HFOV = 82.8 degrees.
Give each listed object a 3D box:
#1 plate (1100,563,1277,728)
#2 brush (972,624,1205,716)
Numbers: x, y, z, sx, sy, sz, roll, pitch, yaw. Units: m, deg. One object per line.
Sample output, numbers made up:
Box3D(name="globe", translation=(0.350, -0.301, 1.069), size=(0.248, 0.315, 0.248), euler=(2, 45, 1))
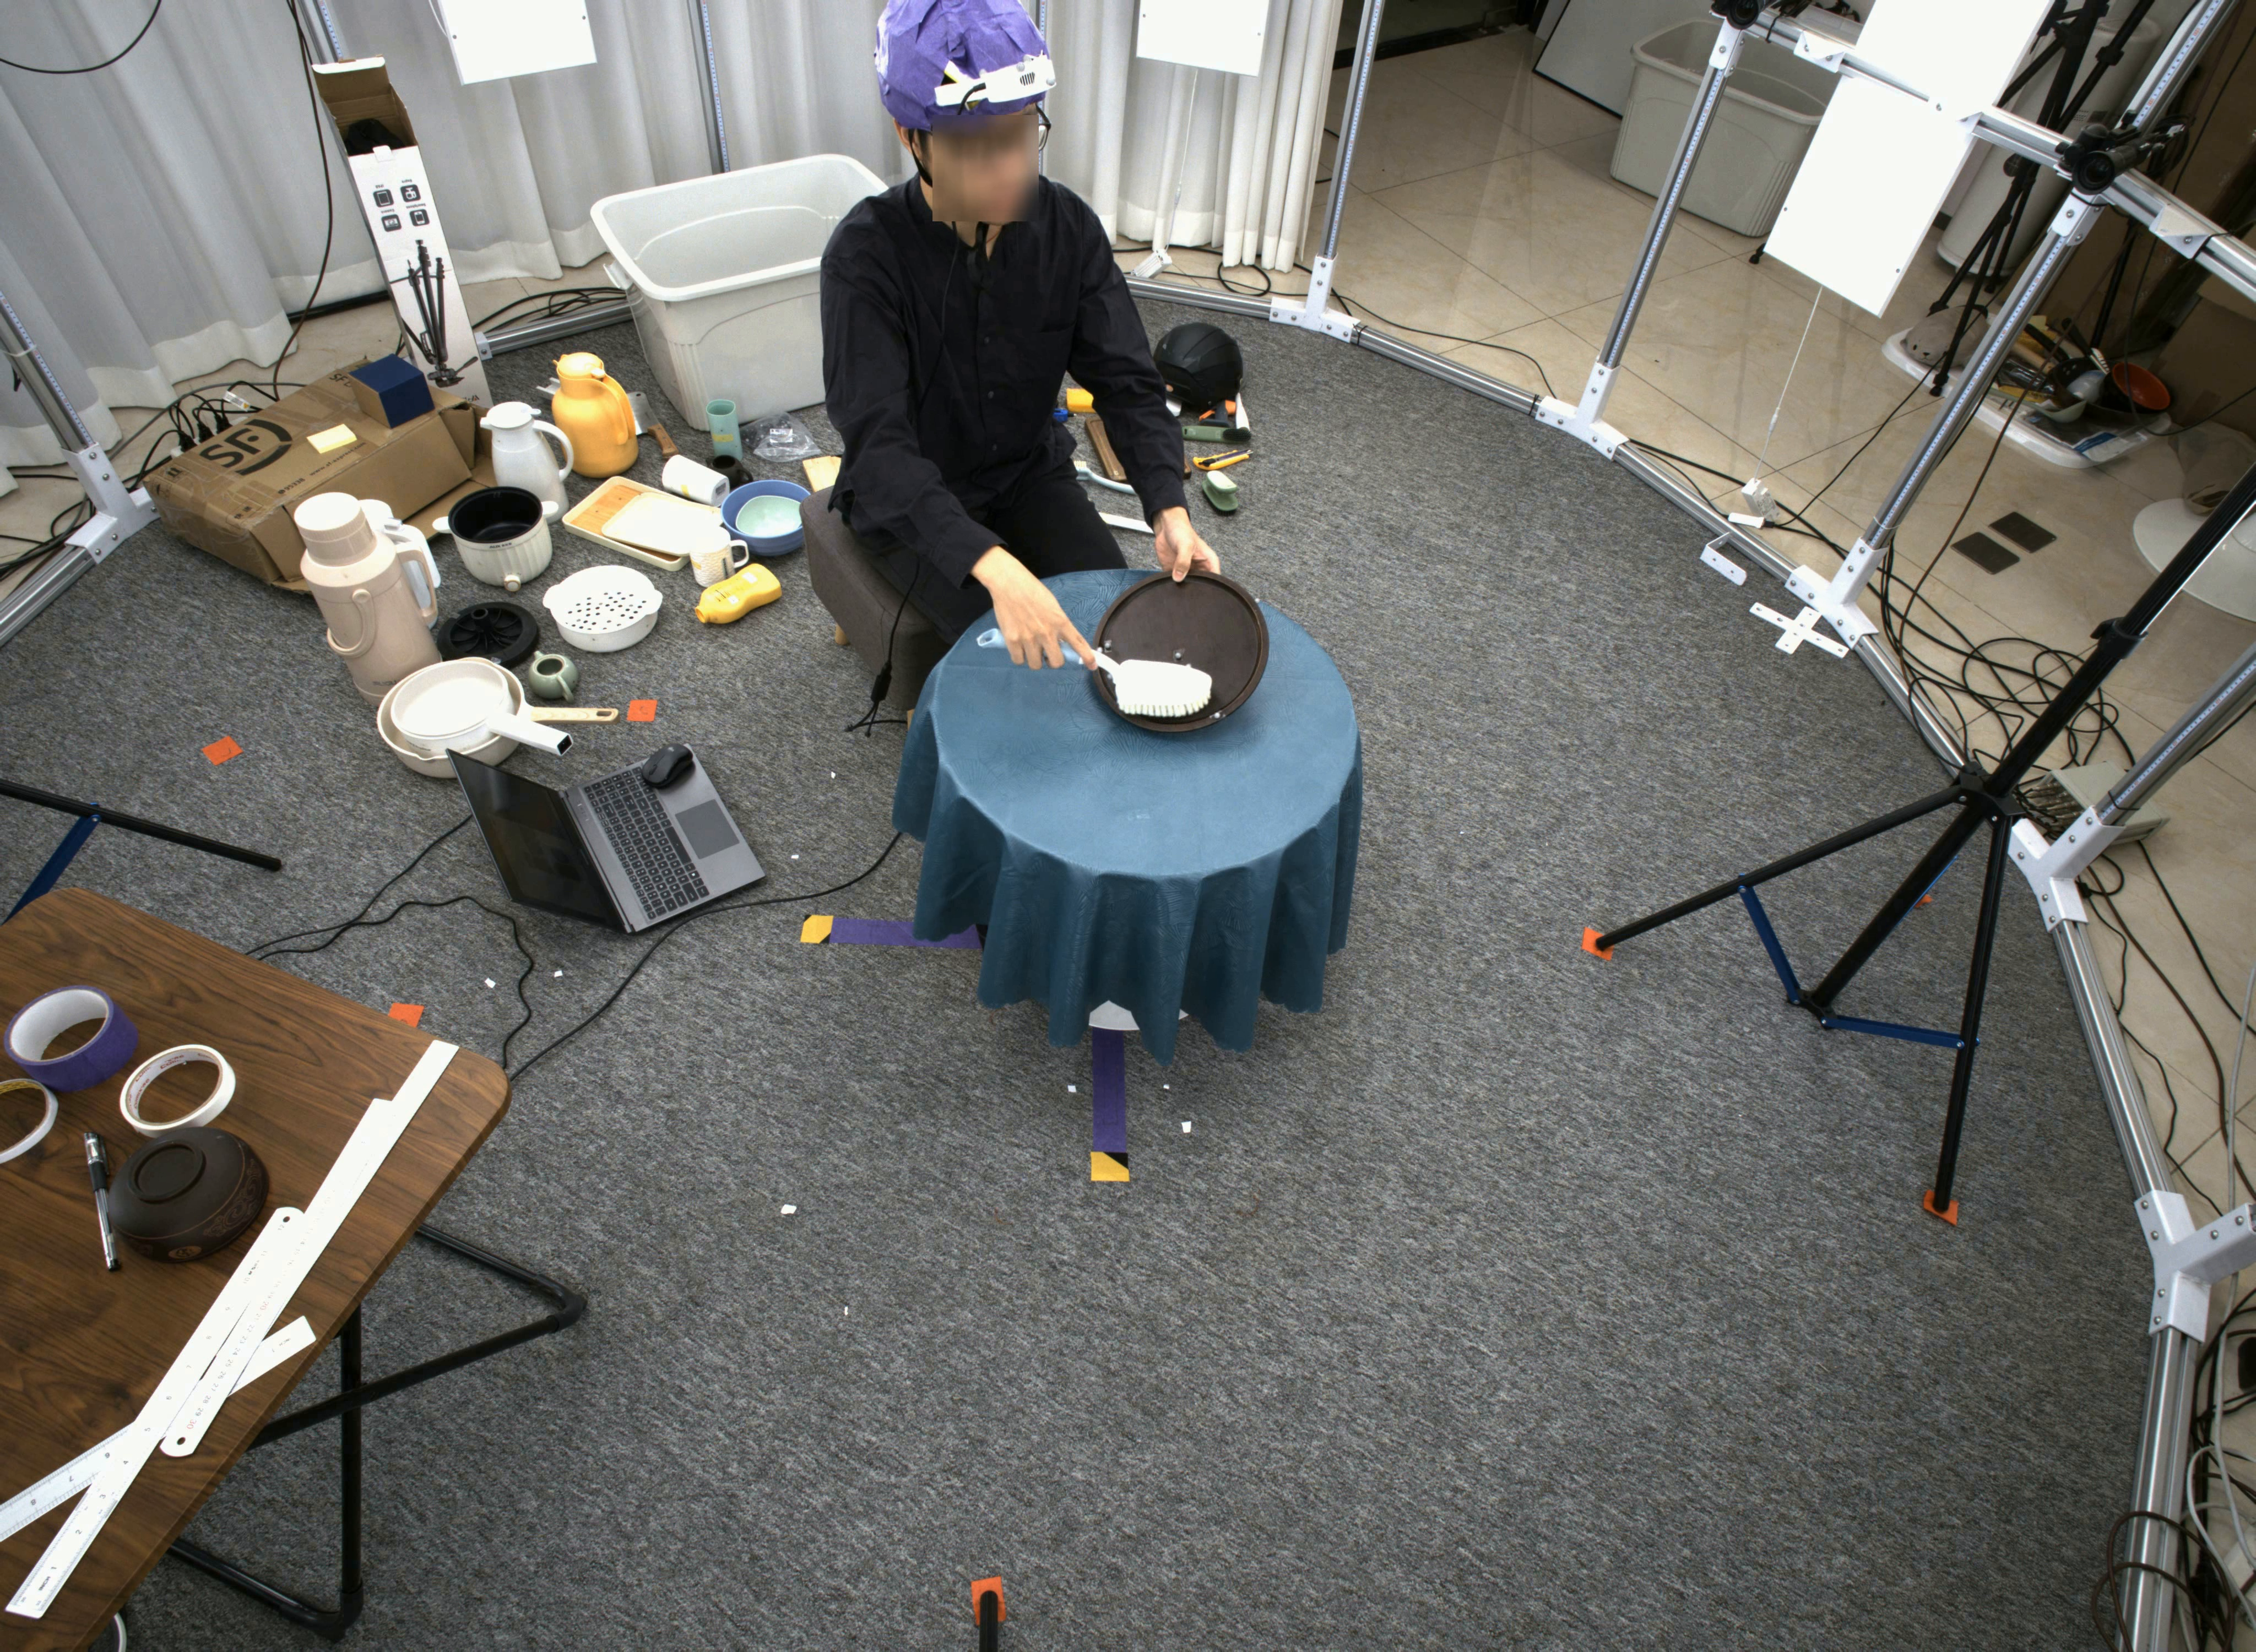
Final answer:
Box3D(name="plate", translation=(0.085, -0.255, 1.811), size=(0.255, 0.028, 0.259), euler=(-5, 69, 13))
Box3D(name="brush", translation=(-0.054, -0.212, 1.756), size=(0.324, 0.083, 0.084), euler=(12, 22, -6))
